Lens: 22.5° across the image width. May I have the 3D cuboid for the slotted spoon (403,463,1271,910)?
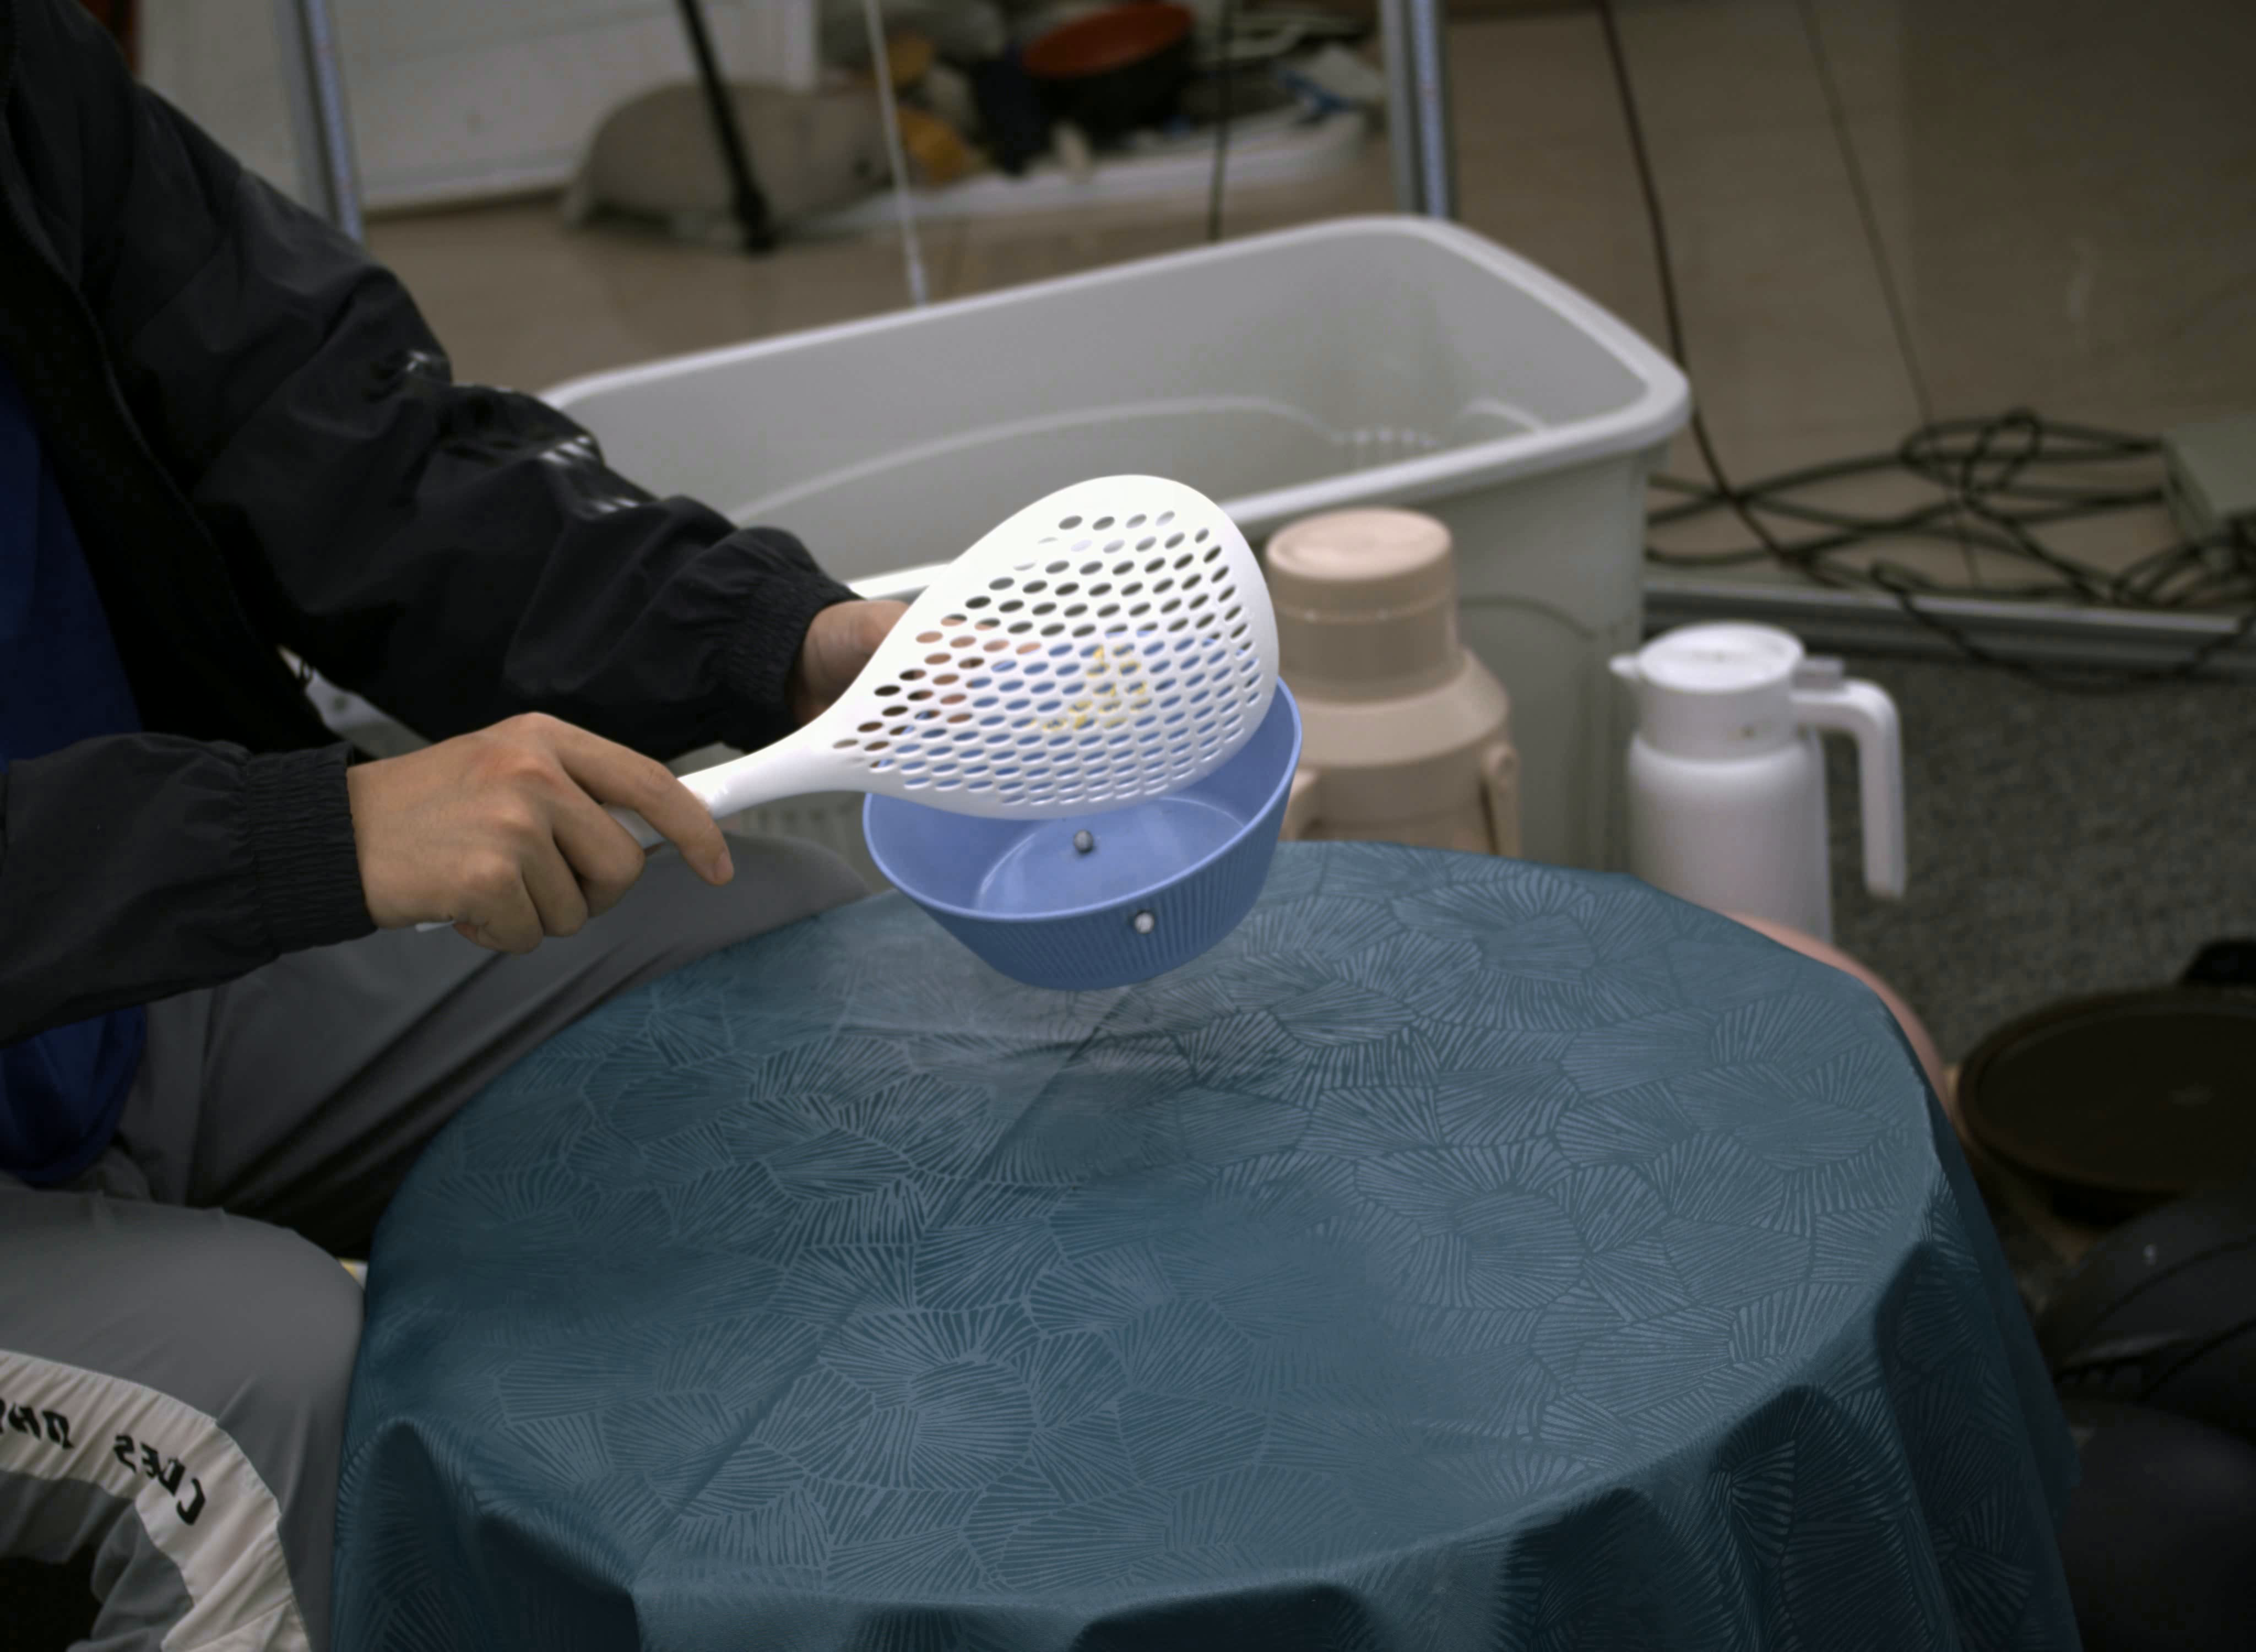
[{"bbox_3d":[-0.108,-0.030,2.142,0.347,0.139,0.049,-18,27,-5],"label":"slotted spoon"}]

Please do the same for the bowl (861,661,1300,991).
[{"bbox_3d":[-0.012,0.004,2.210,0.176,0.071,0.173,-11,37,8],"label":"bowl"}]
